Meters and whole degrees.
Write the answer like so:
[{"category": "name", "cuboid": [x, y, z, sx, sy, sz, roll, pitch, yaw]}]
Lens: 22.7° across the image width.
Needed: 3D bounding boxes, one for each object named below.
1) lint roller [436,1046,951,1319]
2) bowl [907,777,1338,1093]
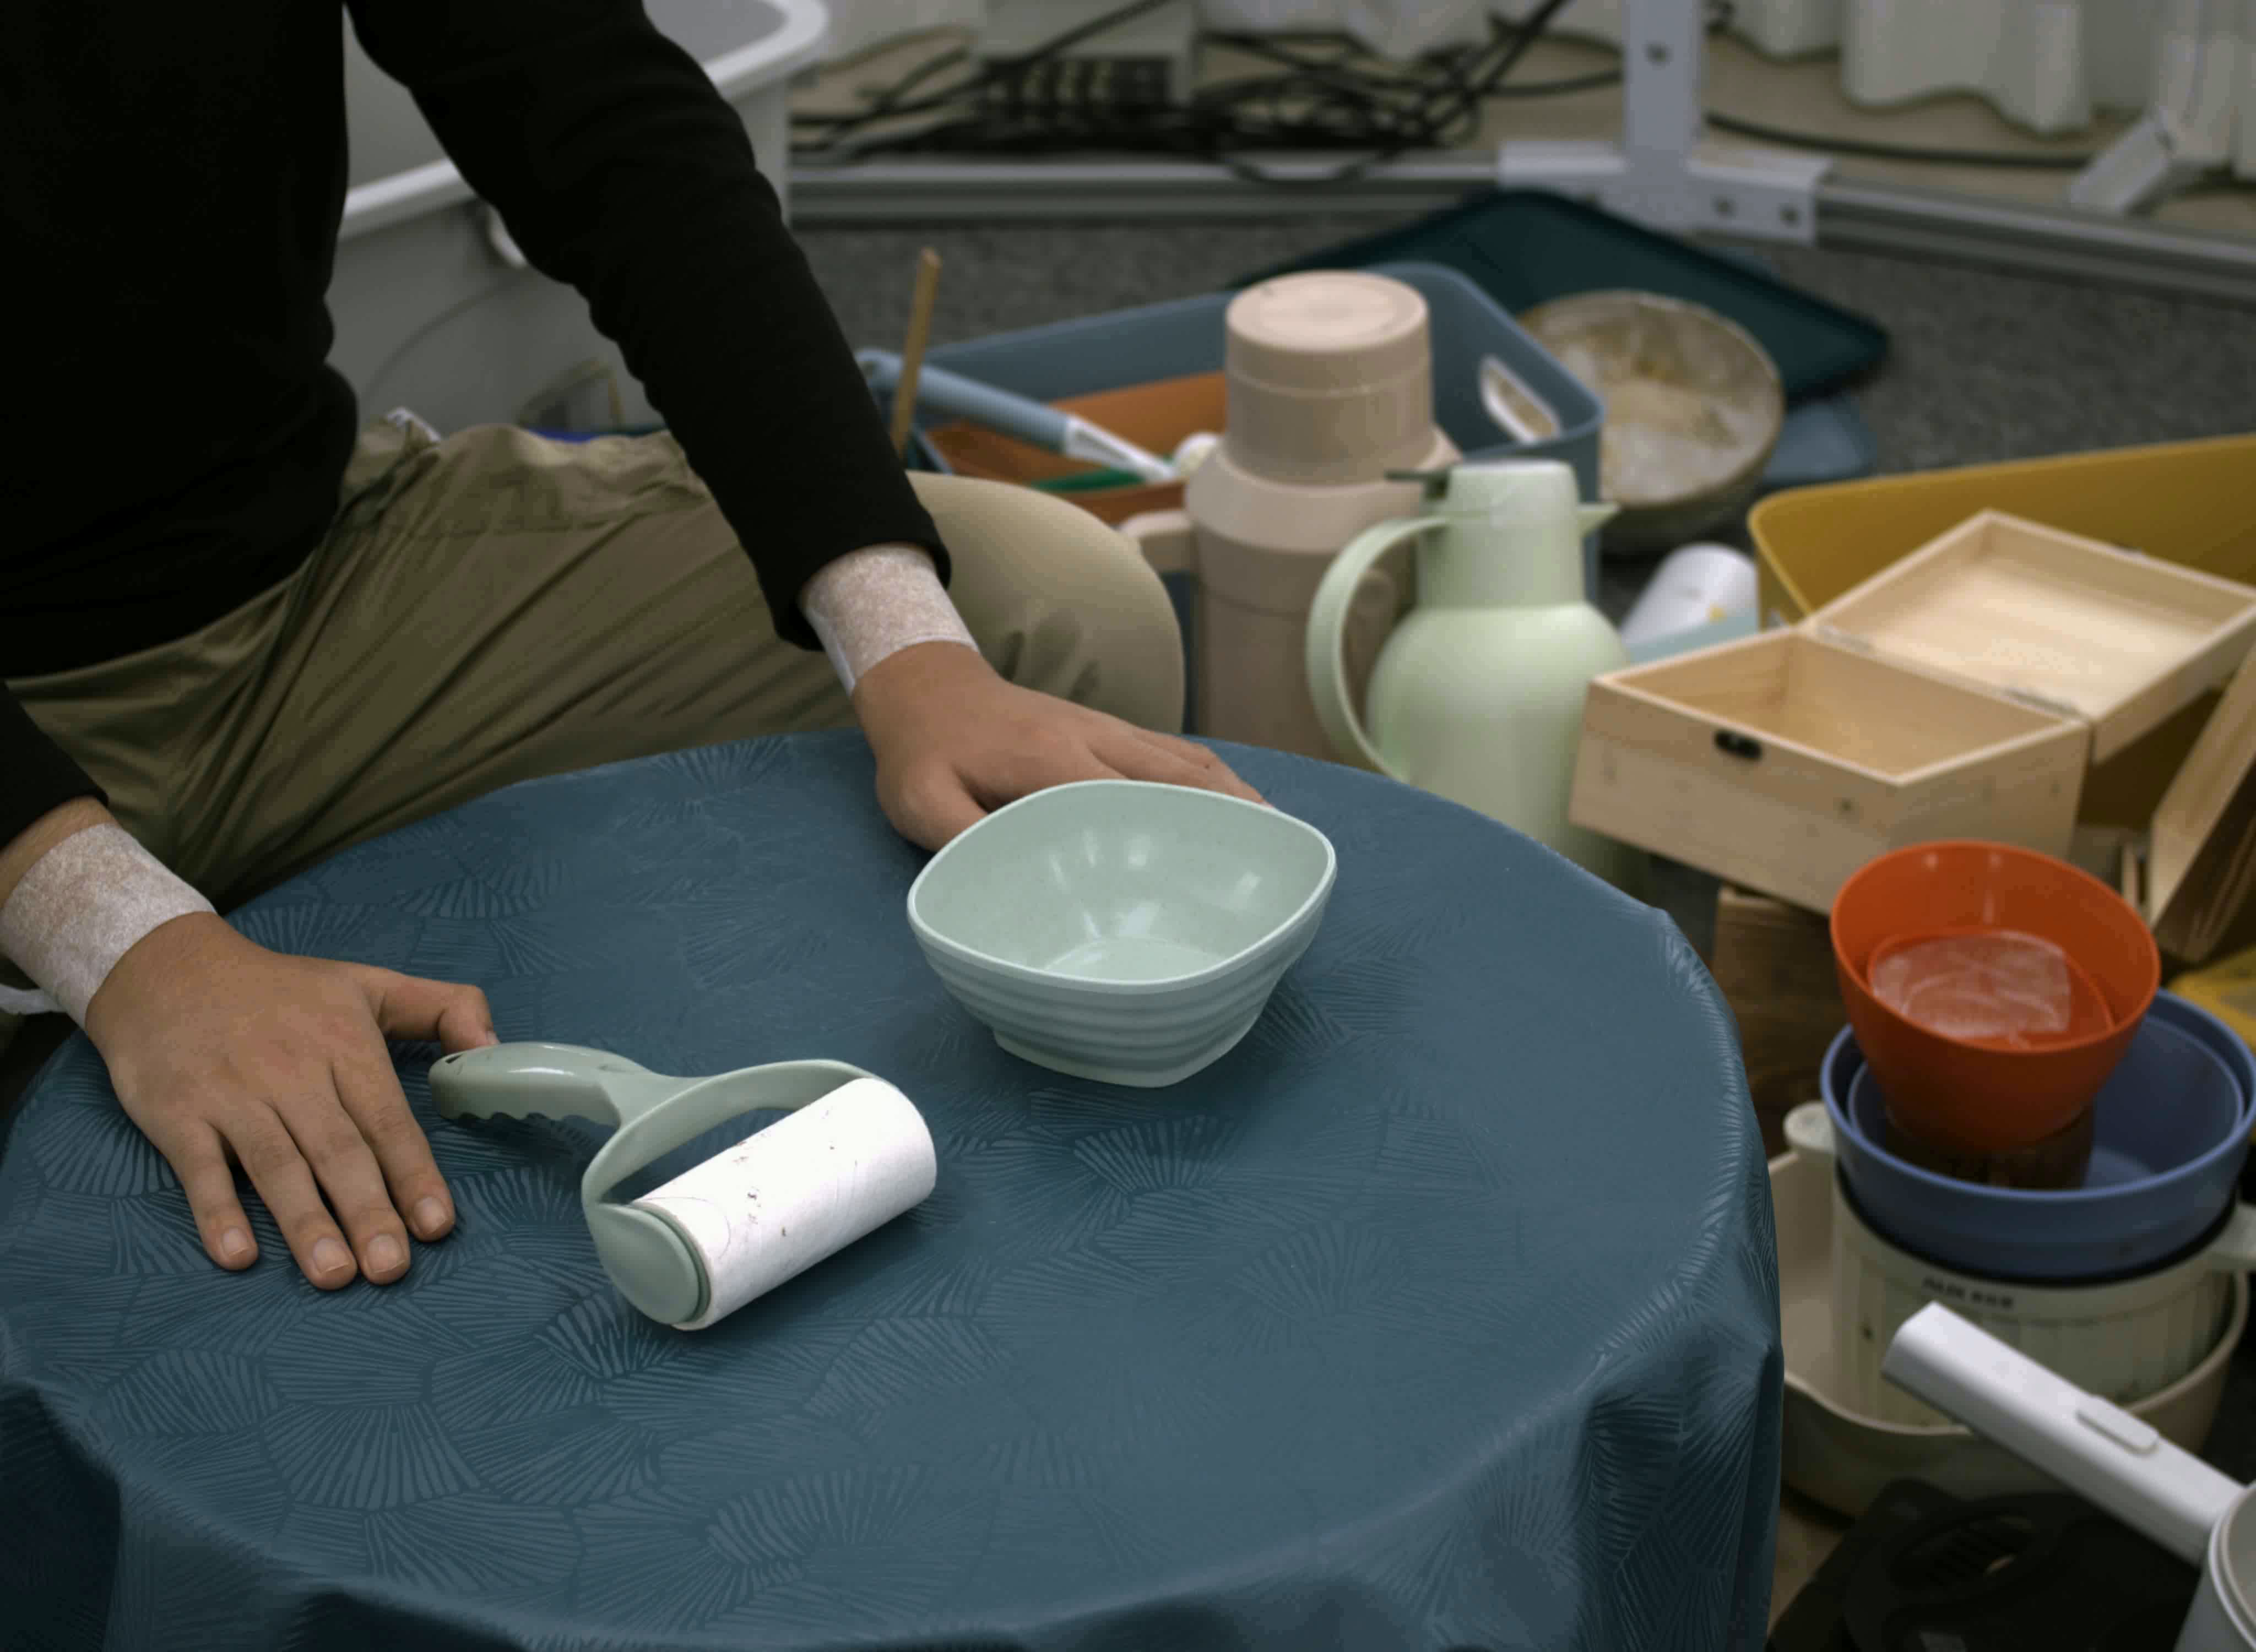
[{"category": "lint roller", "cuboid": [-0.161, 0.100, 1.871, 0.197, 0.048, 0.118, 20, 36, 39]}, {"category": "bowl", "cuboid": [-0.001, 0.043, 1.952, 0.151, 0.058, 0.154, -2, 28, 1]}]
